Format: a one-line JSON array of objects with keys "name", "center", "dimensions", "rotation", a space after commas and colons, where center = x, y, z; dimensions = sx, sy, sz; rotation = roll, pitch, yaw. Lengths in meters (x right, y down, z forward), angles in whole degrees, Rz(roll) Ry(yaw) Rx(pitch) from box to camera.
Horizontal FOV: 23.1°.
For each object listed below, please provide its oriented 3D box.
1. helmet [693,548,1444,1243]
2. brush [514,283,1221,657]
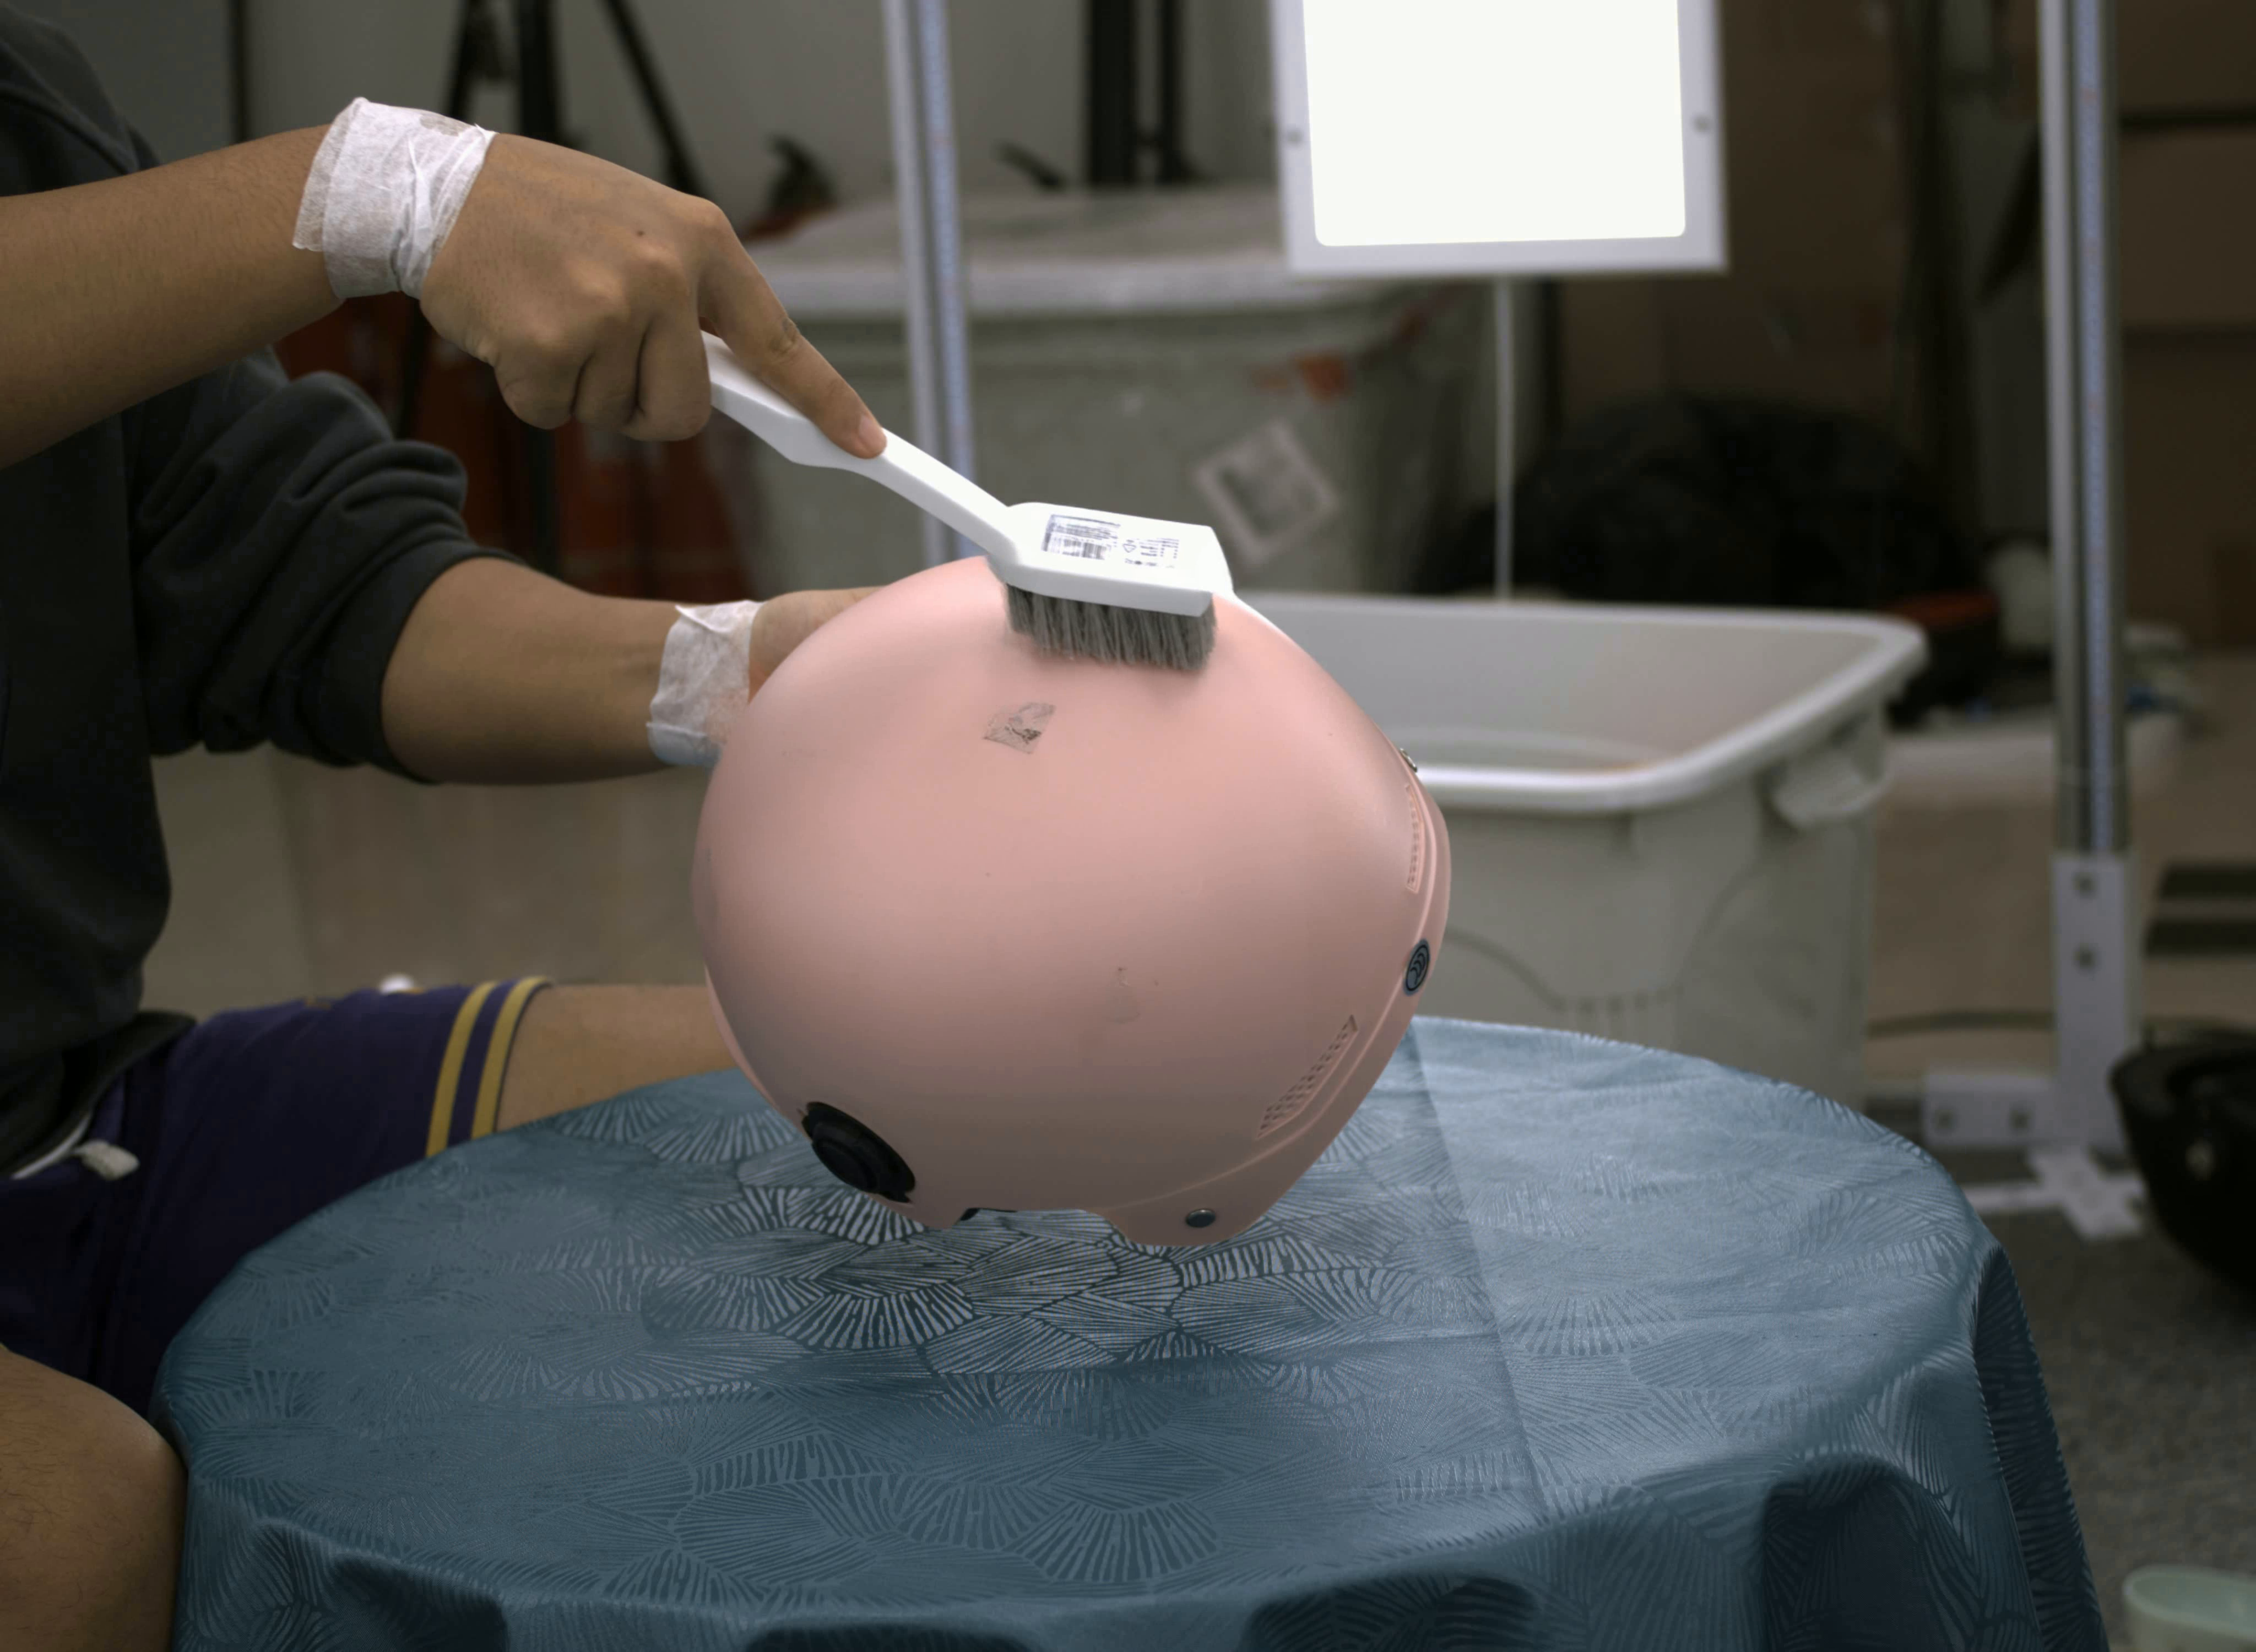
[{"name": "helmet", "center": [-0.037, 0.003, 1.793], "dimensions": [0.270, 0.232, 0.157], "rotation": [12, -22, 28]}, {"name": "brush", "center": [-0.081, -0.107, 1.704], "dimensions": [0.241, 0.051, 0.034], "rotation": [20, 40, -10]}]
